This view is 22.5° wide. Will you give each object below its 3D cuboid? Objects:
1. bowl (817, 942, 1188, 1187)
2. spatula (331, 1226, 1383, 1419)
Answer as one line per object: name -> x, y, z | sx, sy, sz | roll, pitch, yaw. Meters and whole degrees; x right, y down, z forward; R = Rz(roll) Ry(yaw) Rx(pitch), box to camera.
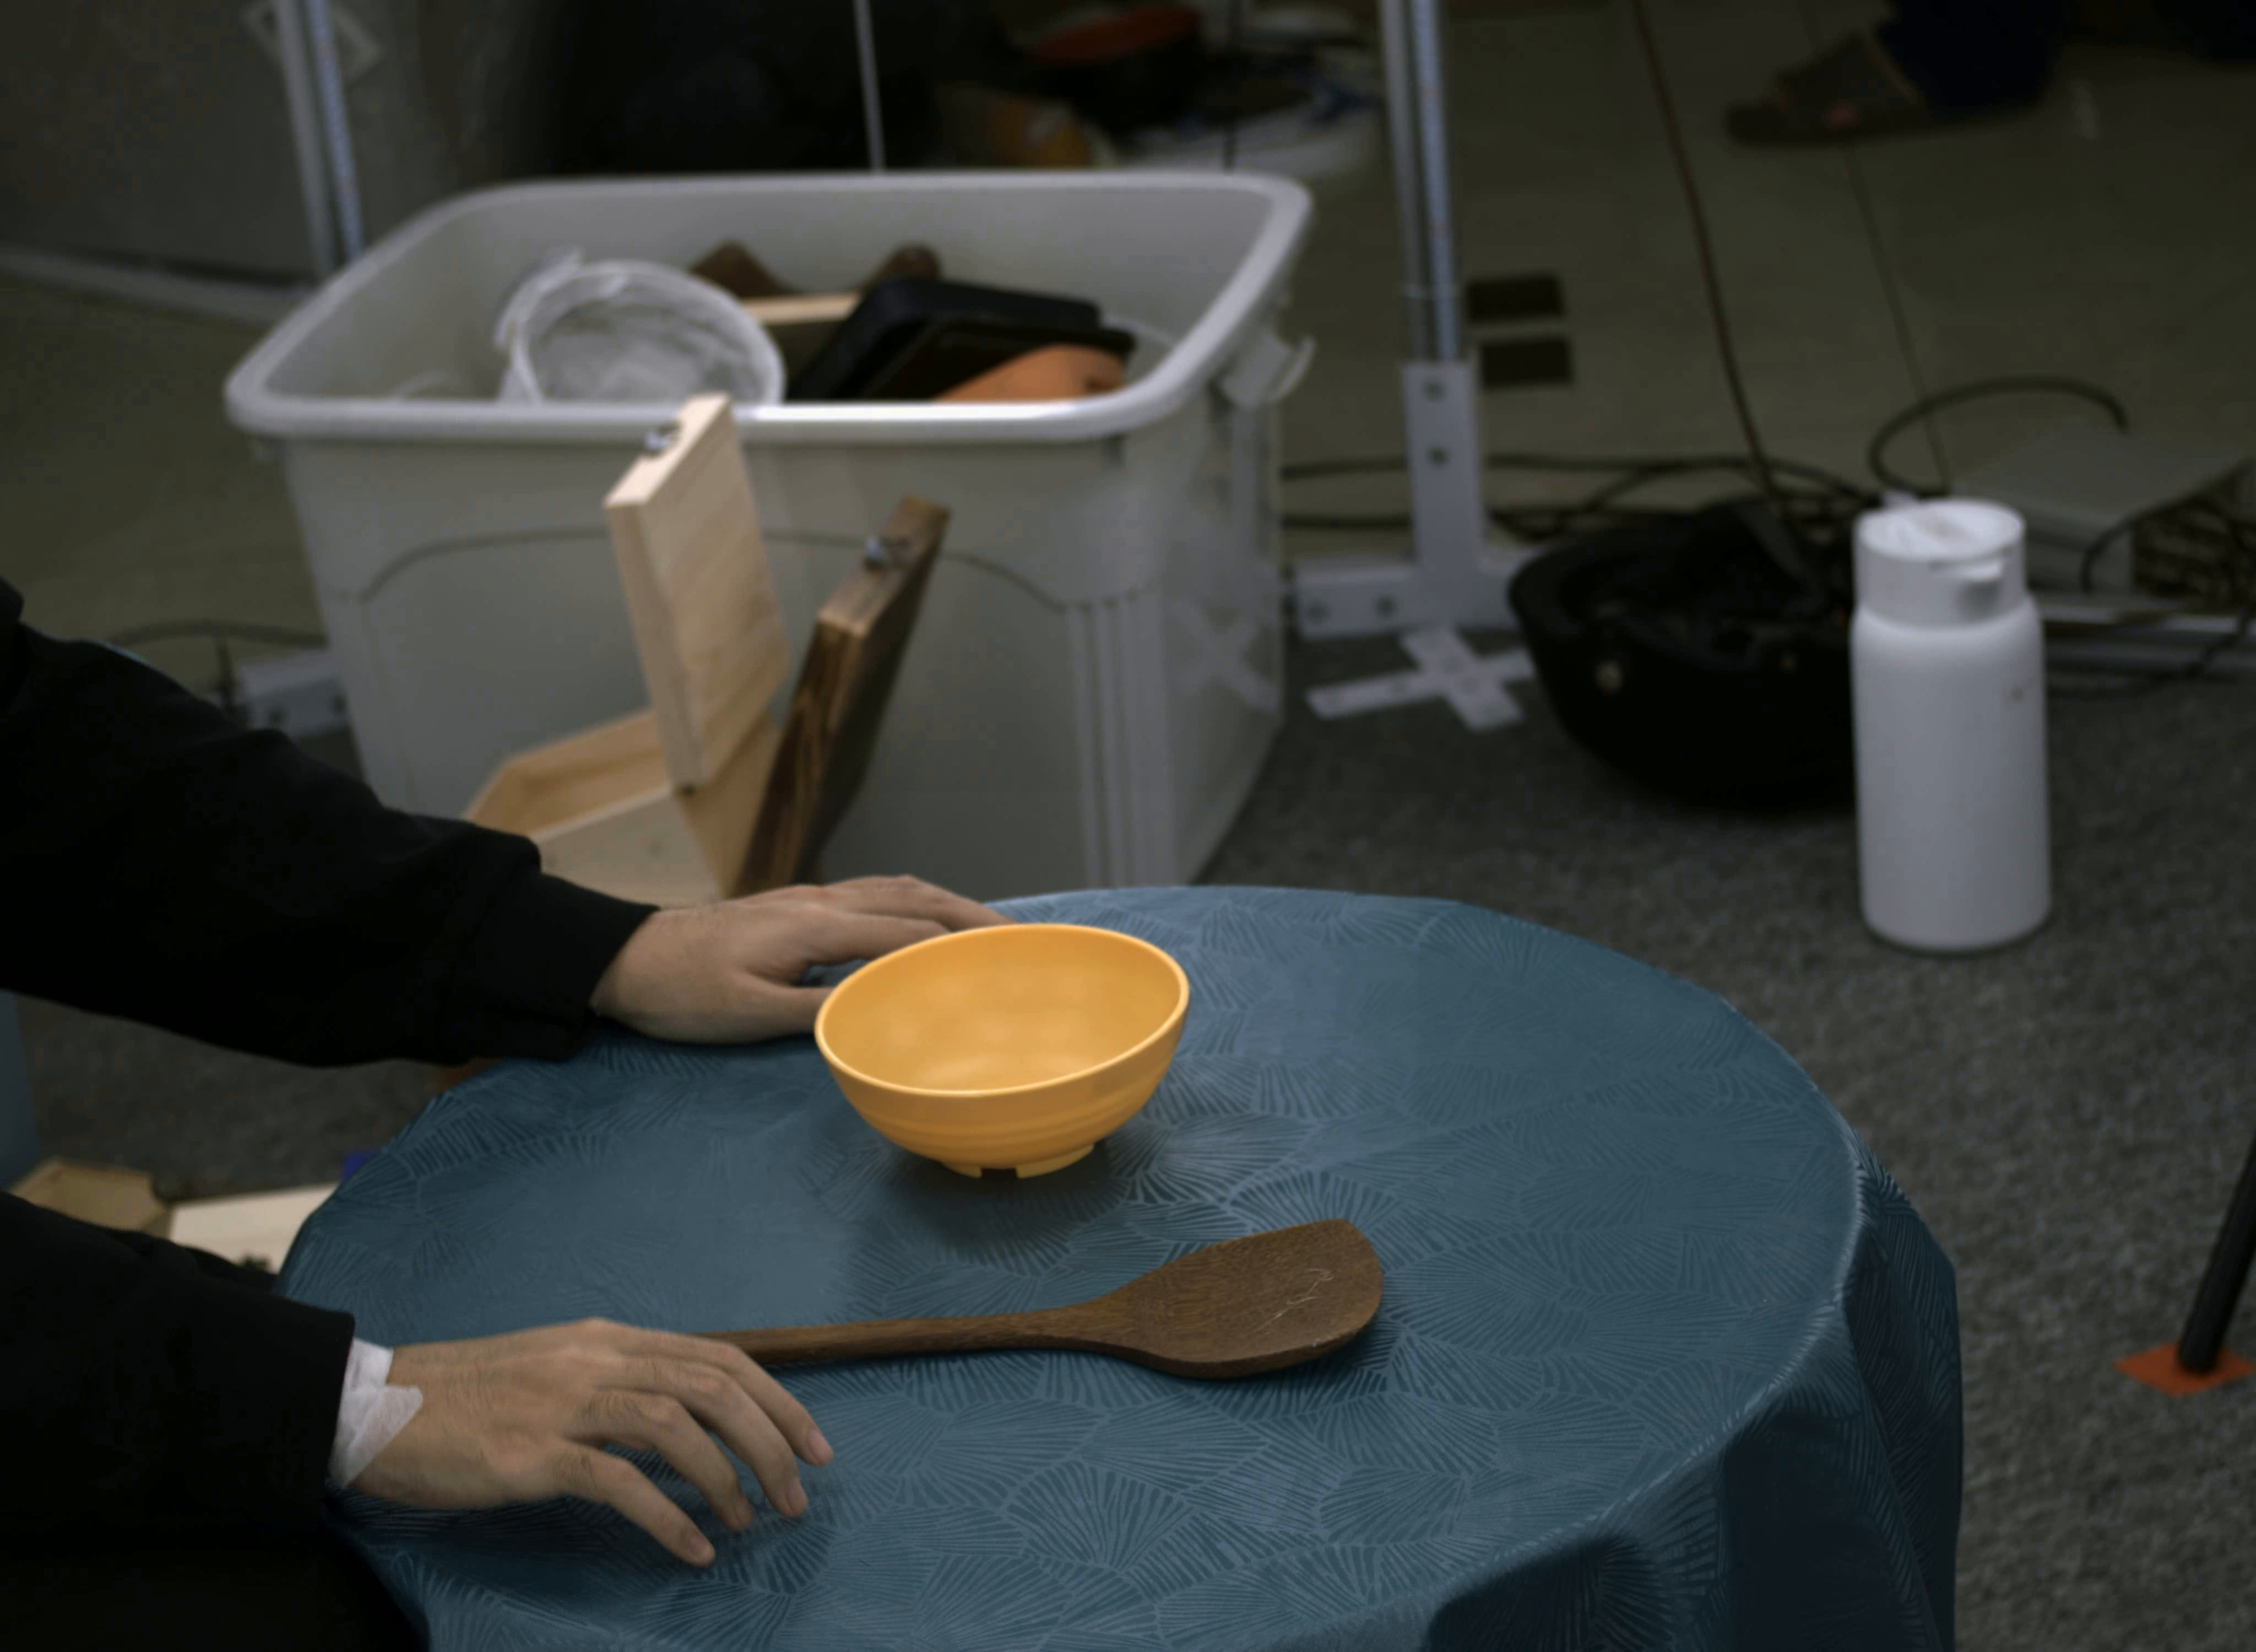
bowl -> -0.045, 0.099, 2.186 | 0.145, 0.061, 0.143 | -6, 22, 3
spatula -> -0.100, 0.187, 2.058 | 0.385, 0.016, 0.095 | -5, 24, 3
